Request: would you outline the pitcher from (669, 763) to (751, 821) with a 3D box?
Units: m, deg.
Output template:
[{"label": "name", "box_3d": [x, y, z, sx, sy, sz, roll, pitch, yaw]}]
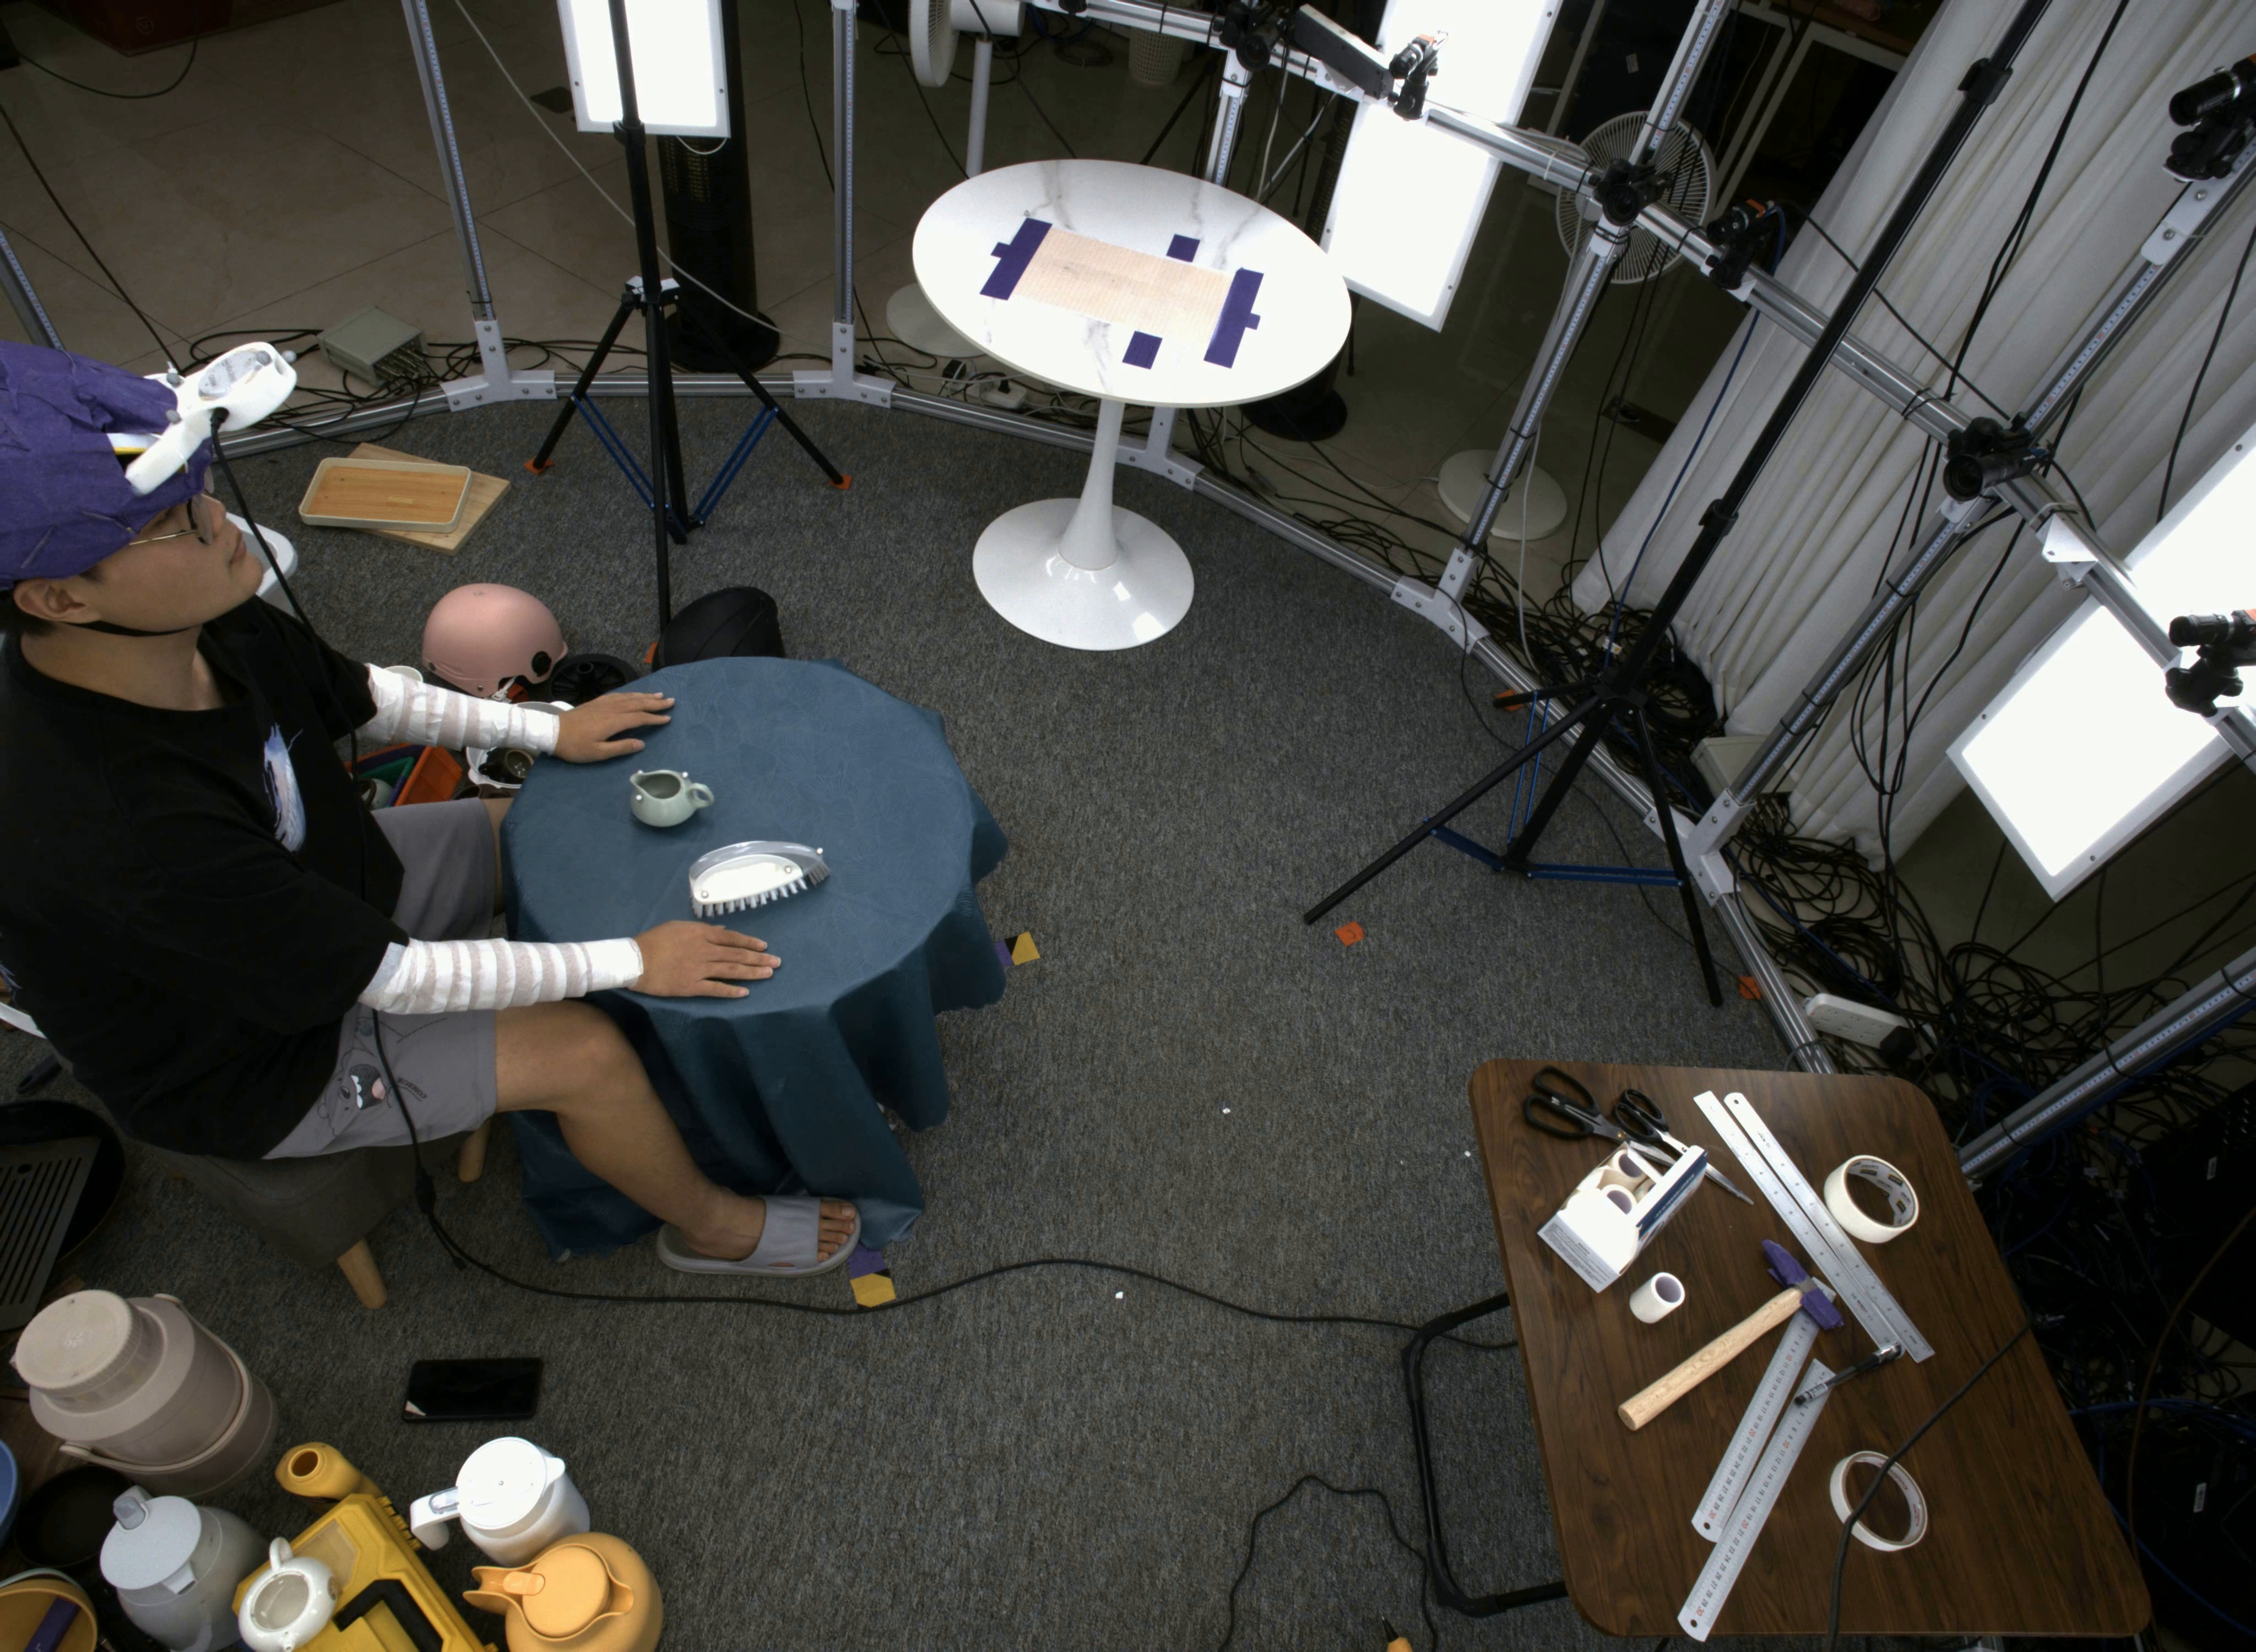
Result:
[{"label": "pitcher", "box_3d": [-0.551, -0.047, 1.702, 0.108, 0.061, 0.084, 9, 53, -9]}]

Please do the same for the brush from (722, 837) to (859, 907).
[{"label": "brush", "box_3d": [-0.426, 0.044, 1.643, 0.176, 0.096, 0.060, -9, 58, -21]}]
